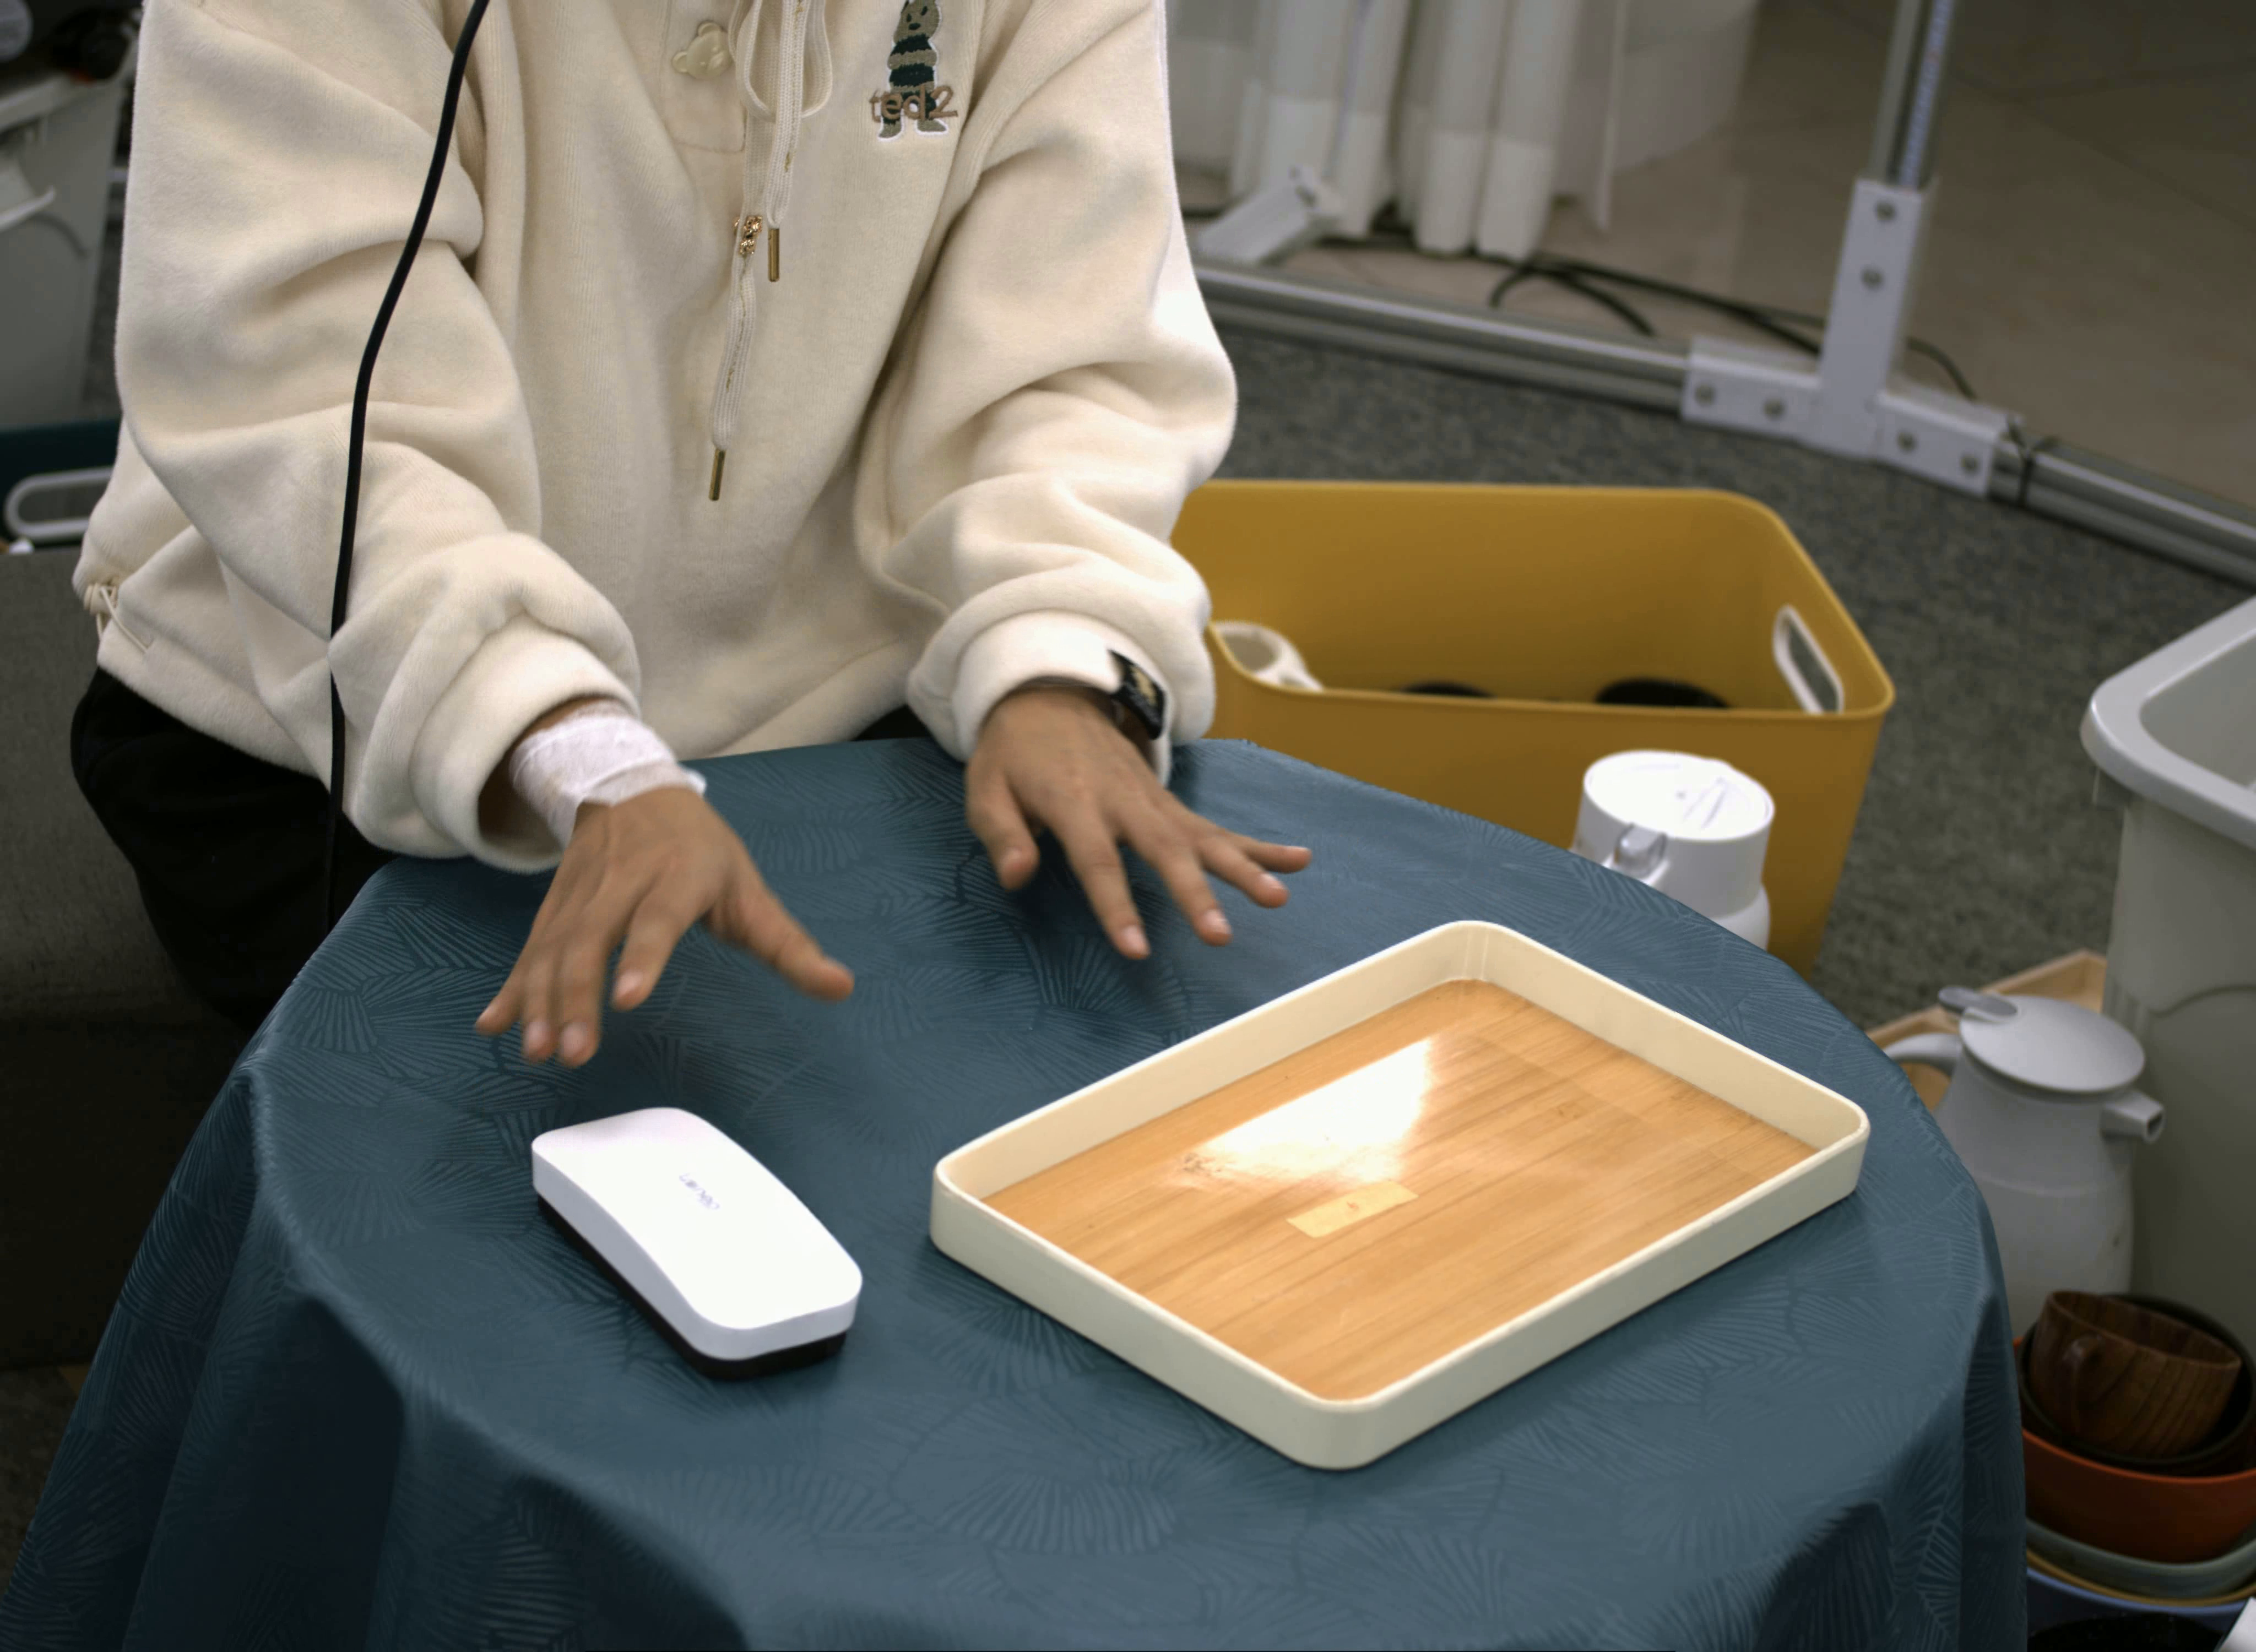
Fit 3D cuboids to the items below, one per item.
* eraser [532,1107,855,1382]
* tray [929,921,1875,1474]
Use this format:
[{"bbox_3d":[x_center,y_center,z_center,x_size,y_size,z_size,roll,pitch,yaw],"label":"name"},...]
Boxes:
[{"bbox_3d":[-0.141,0.131,1.721,0.063,0.034,0.132,-12,33,-30],"label":"eraser"},{"bbox_3d":[0.096,0.120,1.802,0.193,0.027,0.299,28,34,35],"label":"tray"}]
